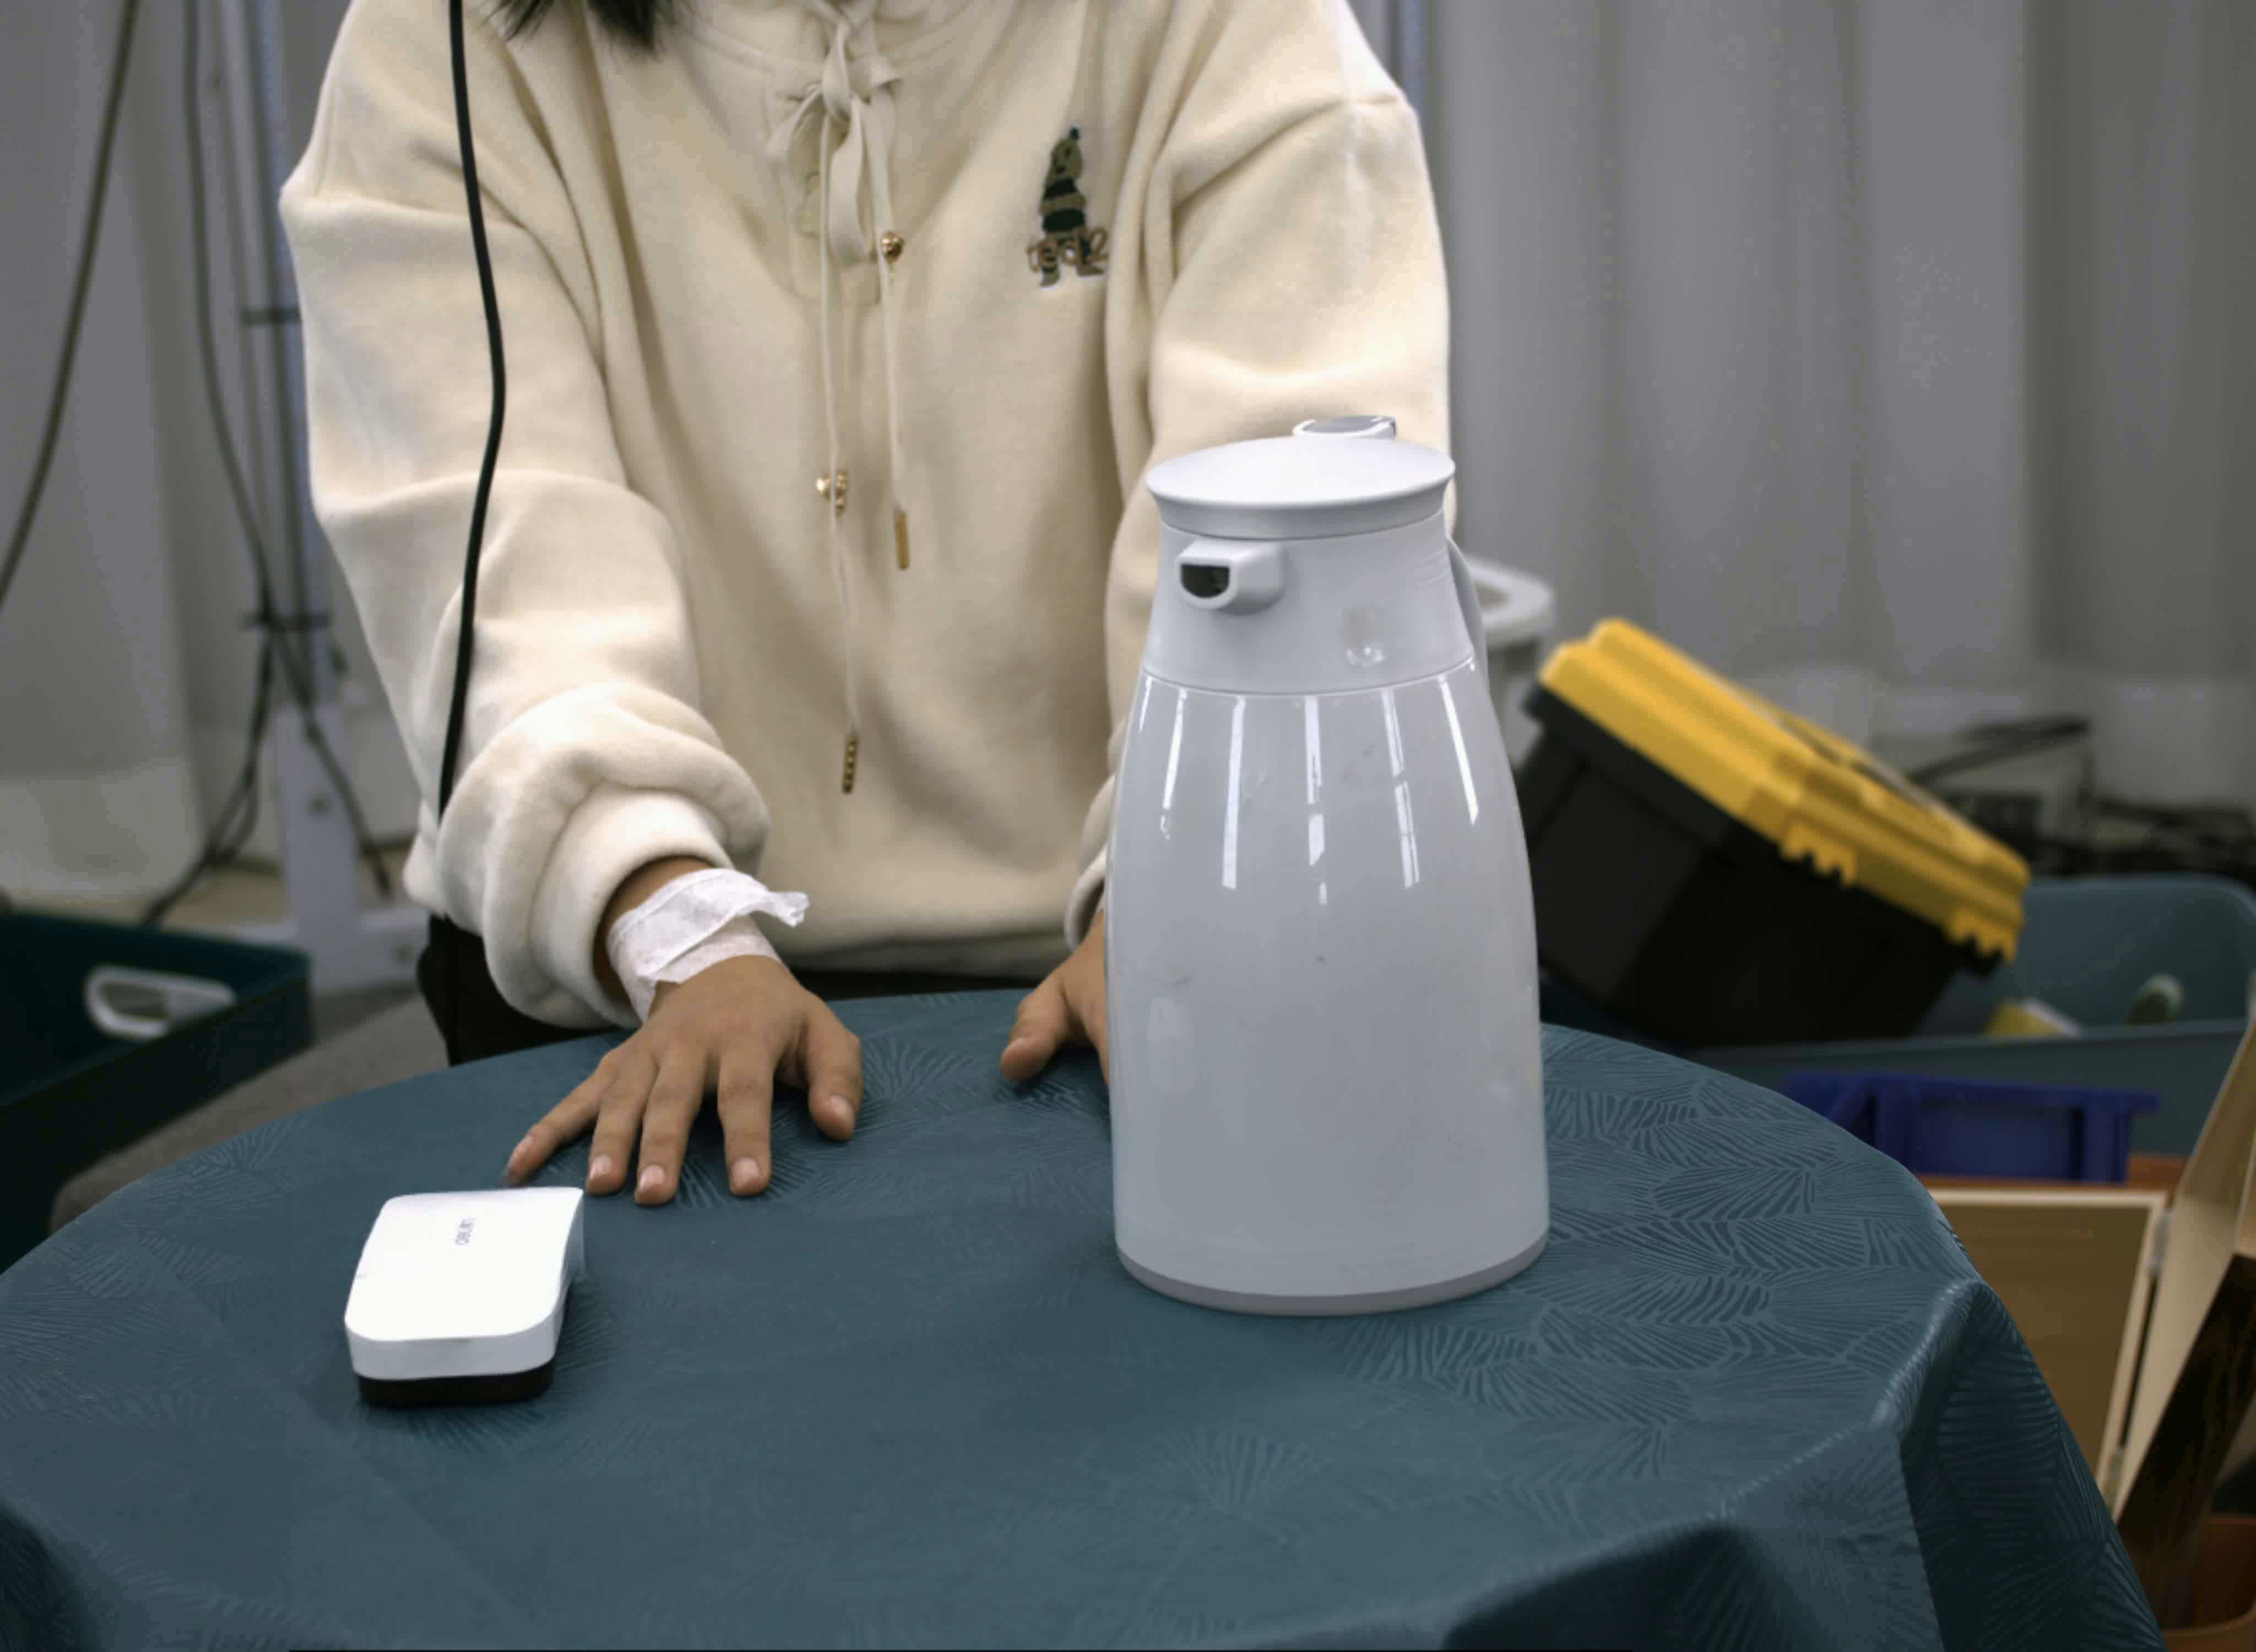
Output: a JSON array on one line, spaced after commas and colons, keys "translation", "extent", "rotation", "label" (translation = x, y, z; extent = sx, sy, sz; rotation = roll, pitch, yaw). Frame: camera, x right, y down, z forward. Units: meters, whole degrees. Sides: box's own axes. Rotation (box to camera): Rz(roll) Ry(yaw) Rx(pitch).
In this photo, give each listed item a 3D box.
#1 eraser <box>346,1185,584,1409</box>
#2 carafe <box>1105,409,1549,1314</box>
[{"translation": [-0.193, 0.135, 1.615], "extent": [0.063, 0.034, 0.132], "rotation": [0, 15, 0], "label": "eraser"}, {"translation": [0.064, 0.002, 1.645], "extent": [0.133, 0.248, 0.168], "rotation": [4, 15, 27], "label": "carafe"}]
